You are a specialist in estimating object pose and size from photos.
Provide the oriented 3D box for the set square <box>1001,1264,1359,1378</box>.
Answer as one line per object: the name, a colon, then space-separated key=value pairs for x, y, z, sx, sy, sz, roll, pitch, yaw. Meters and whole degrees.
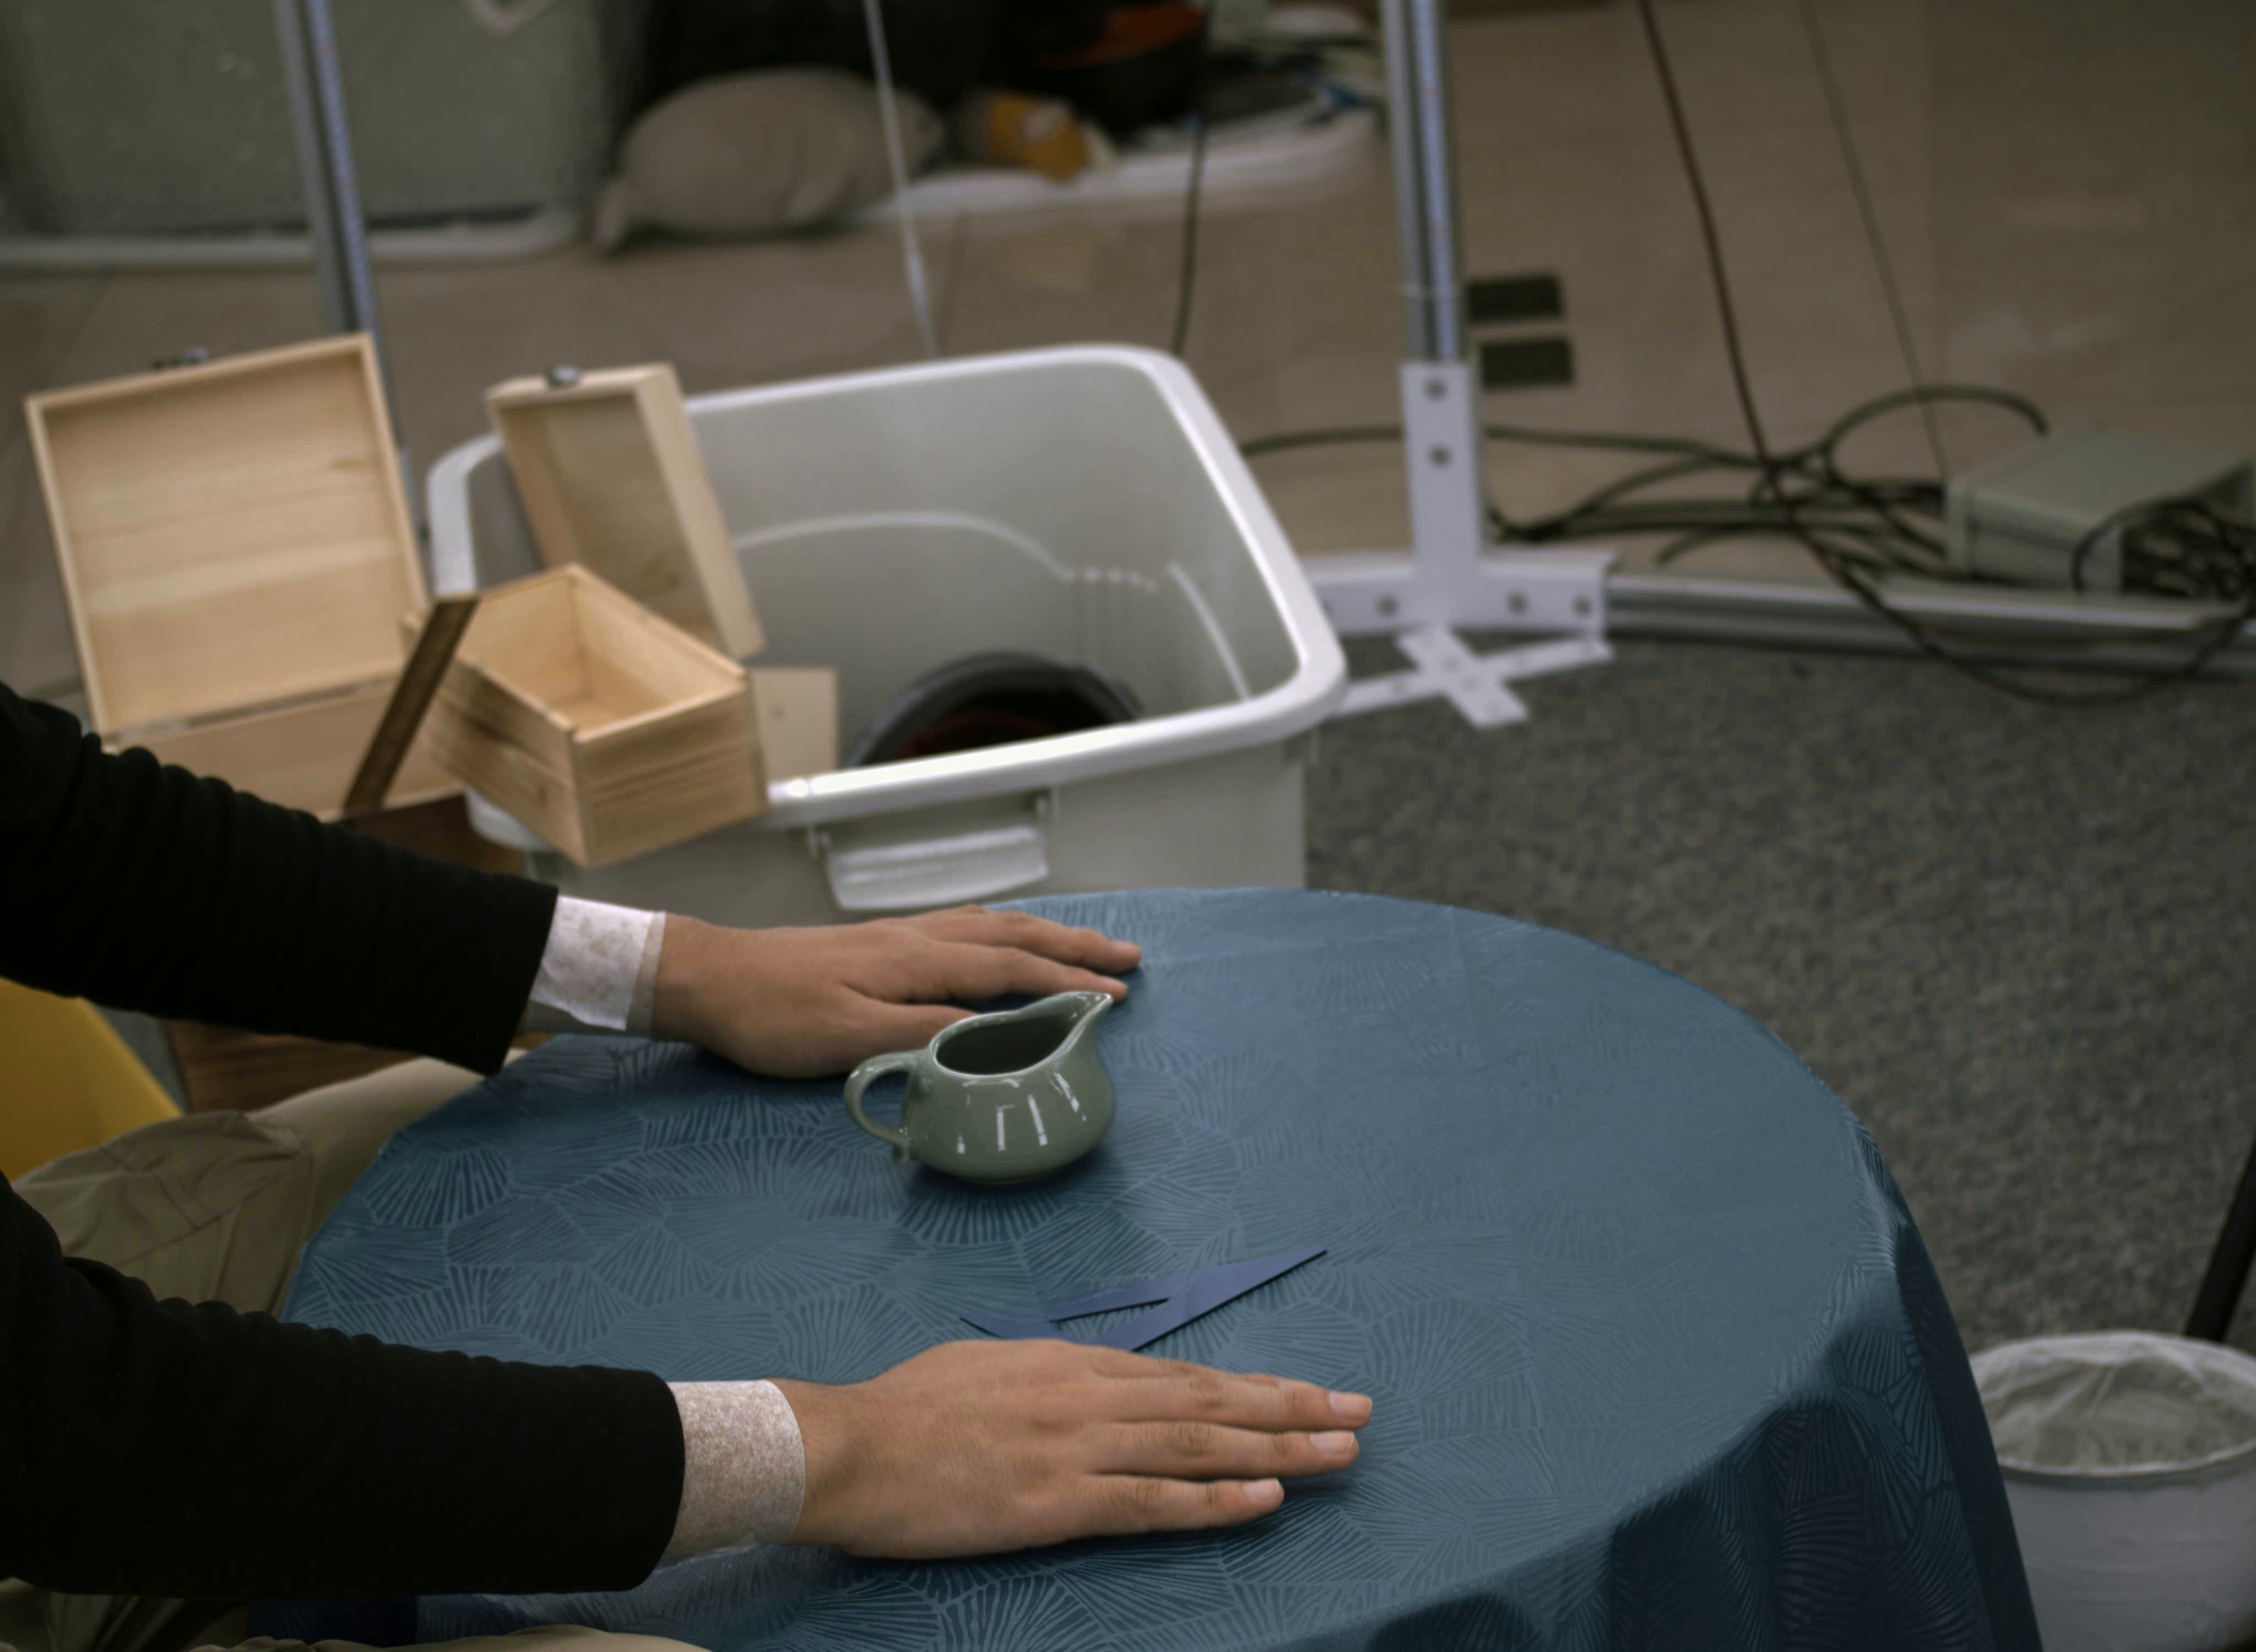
set square: x=0.021 y=0.179 z=2.053 sx=0.132 sy=0.006 sz=0.060 roll=-8 pitch=24 yaw=-4

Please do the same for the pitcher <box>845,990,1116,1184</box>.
pitcher: x=-0.054 y=0.103 z=2.172 sx=0.112 sy=0.057 sz=0.083 roll=-16 pitch=25 yaw=-20
